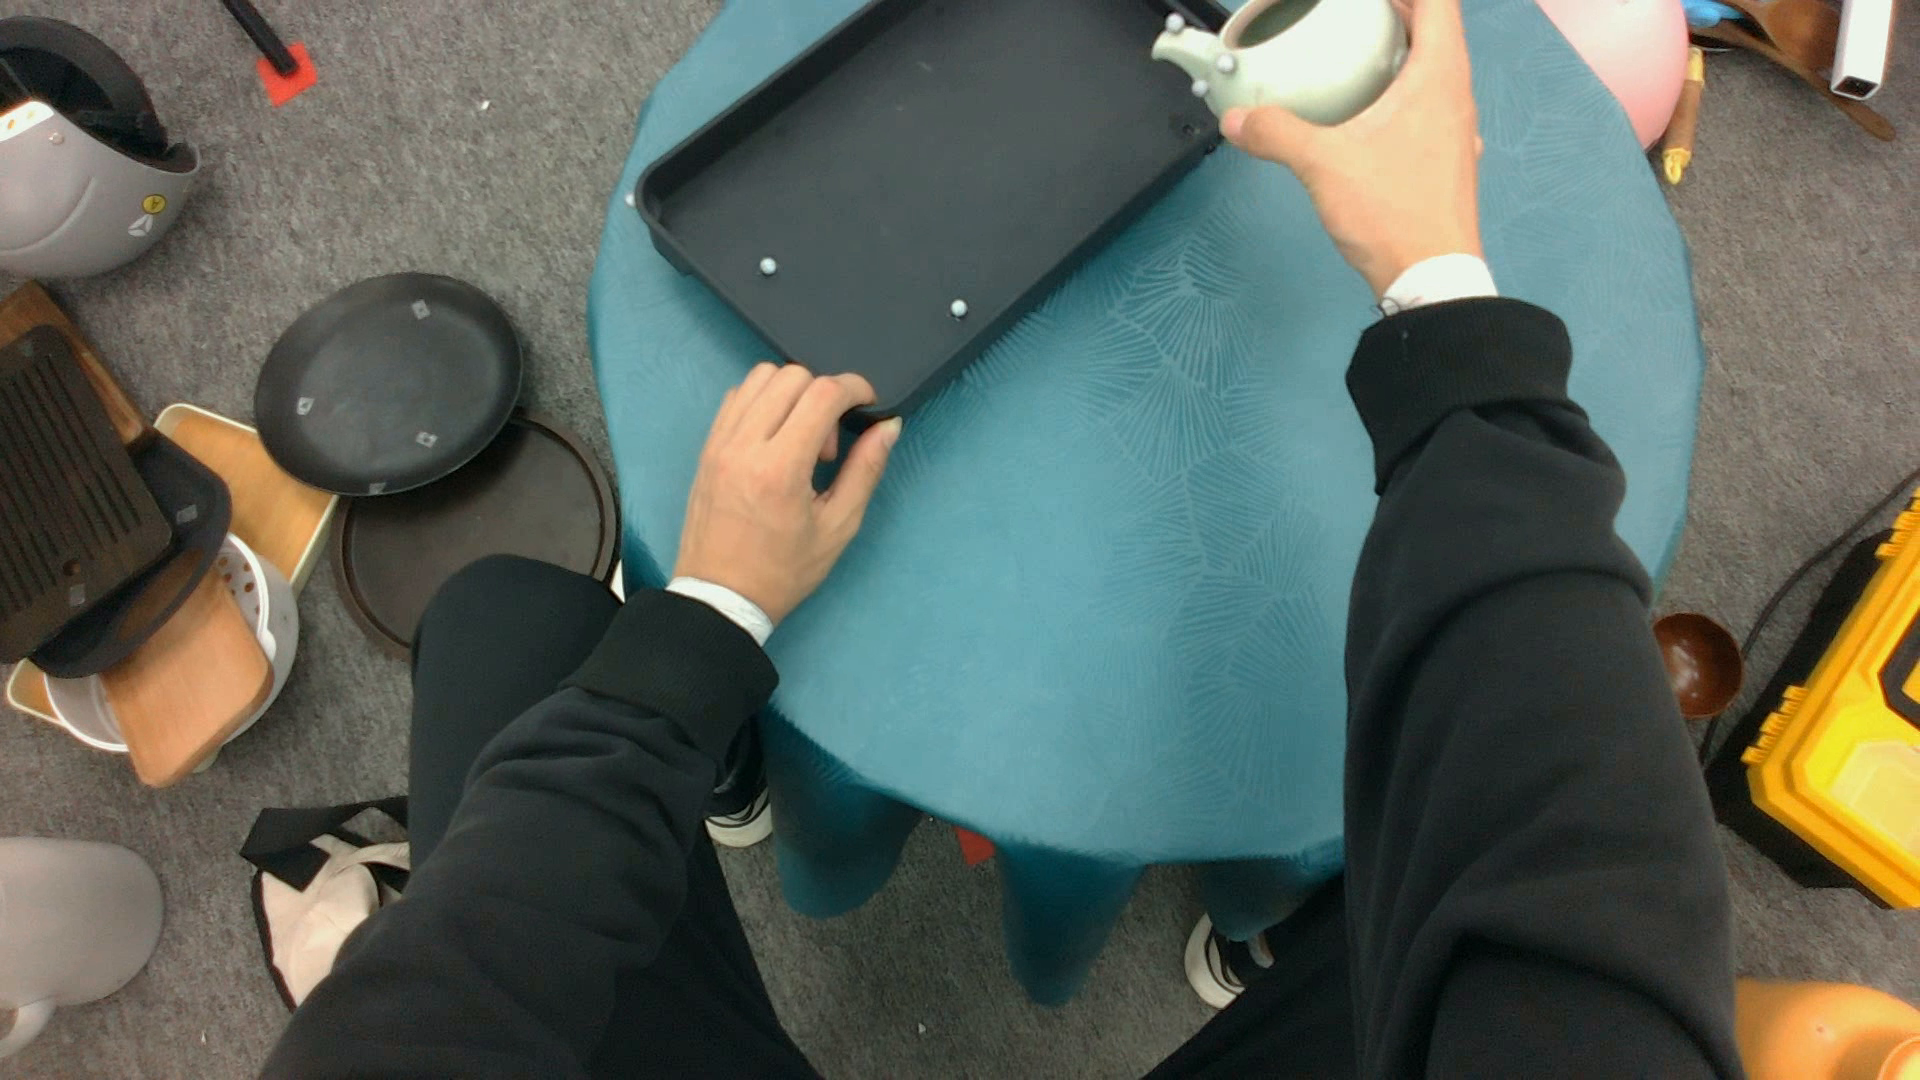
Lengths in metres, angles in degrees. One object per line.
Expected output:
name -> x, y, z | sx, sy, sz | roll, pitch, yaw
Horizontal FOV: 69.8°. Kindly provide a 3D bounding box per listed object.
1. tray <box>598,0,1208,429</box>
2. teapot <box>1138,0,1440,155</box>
tray -> -0.019, -0.217, 0.734 | 0.184, 0.037, 0.319 | 41, 72, 10
teapot -> 0.154, -0.223, 0.638 | 0.143, 0.074, 0.088 | 12, 61, 43
